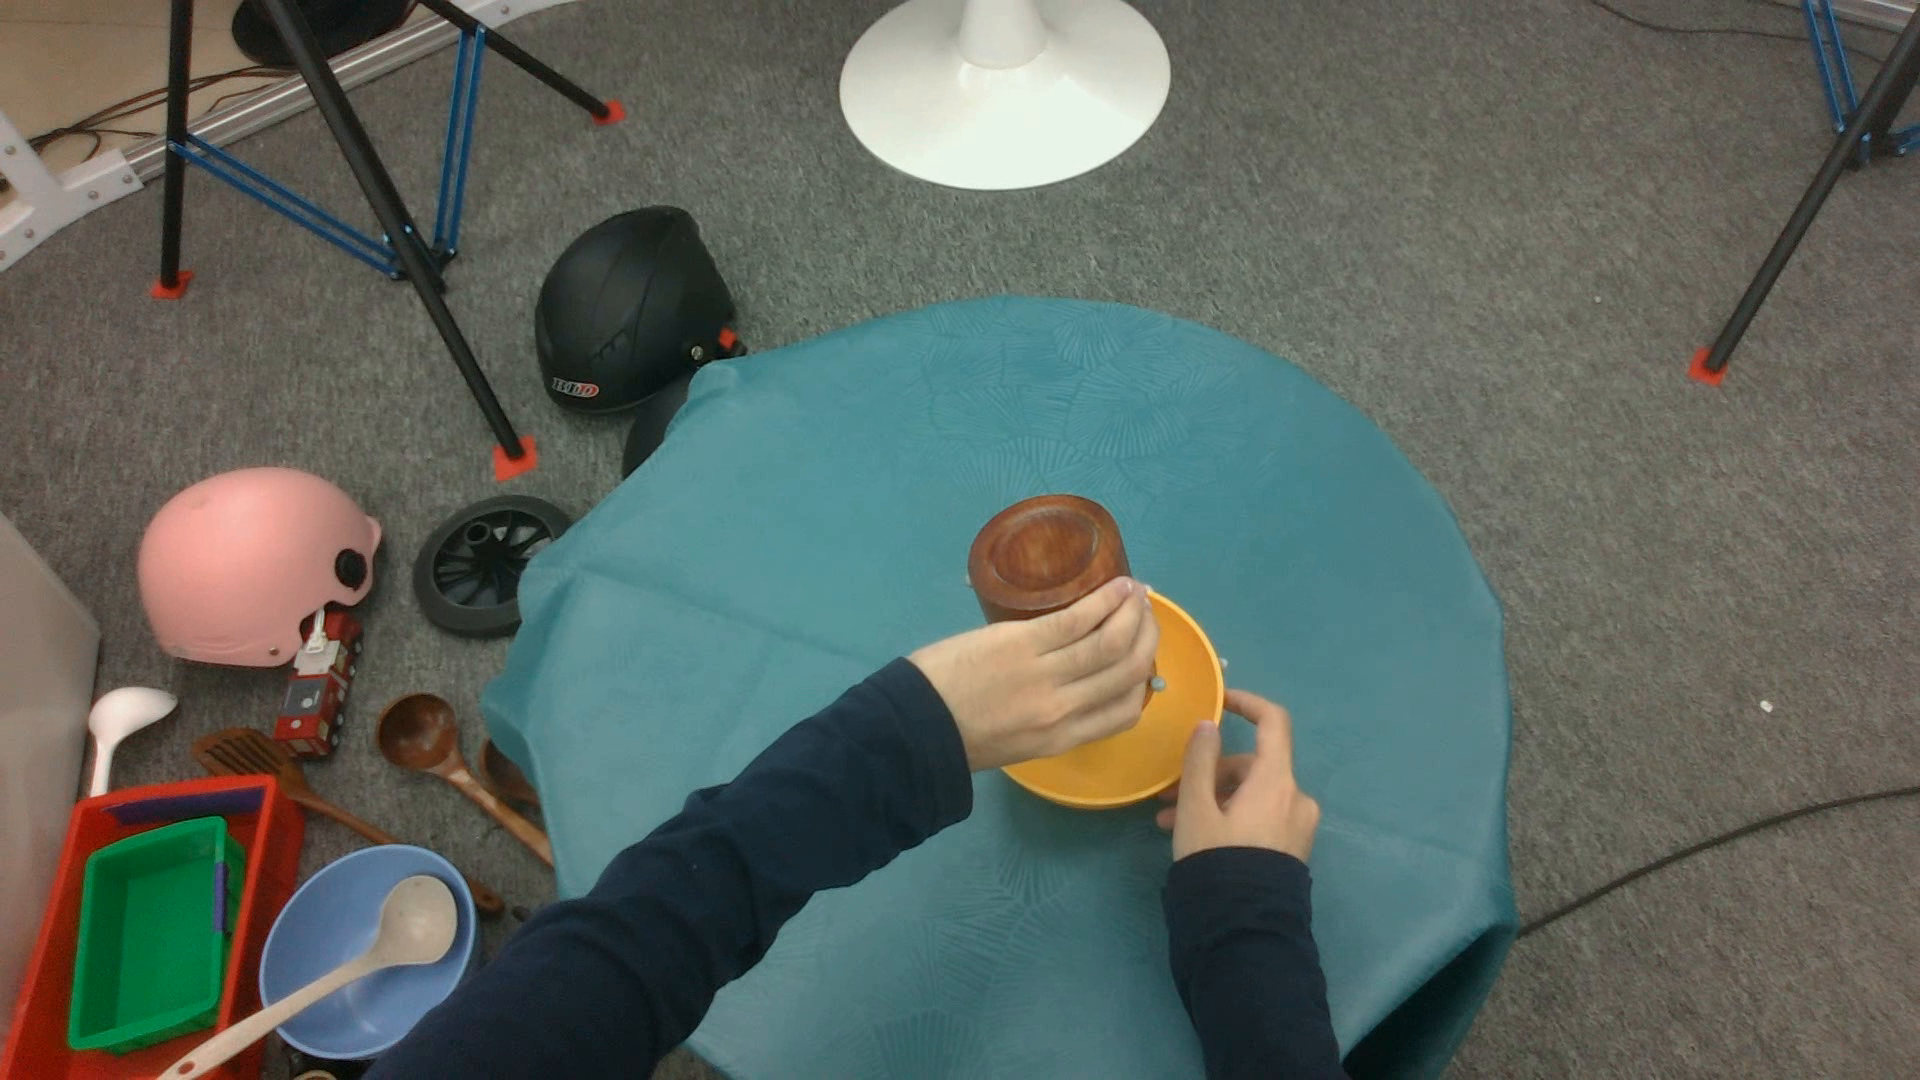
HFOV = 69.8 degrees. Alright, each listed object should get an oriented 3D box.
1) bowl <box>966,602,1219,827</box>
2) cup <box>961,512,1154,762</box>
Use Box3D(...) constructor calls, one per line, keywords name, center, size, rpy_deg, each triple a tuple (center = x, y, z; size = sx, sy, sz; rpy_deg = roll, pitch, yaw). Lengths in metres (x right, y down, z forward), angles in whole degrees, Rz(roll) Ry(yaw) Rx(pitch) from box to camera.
Box3D(name="bowl", center=(0.078, 0.110, 0.811), size=(0.145, 0.060, 0.146), rpy_deg=(-3, 55, 5))
Box3D(name="cup", center=(0.054, 0.054, 0.744), size=(0.087, 0.118, 0.088), rpy_deg=(-12, 41, 11))
